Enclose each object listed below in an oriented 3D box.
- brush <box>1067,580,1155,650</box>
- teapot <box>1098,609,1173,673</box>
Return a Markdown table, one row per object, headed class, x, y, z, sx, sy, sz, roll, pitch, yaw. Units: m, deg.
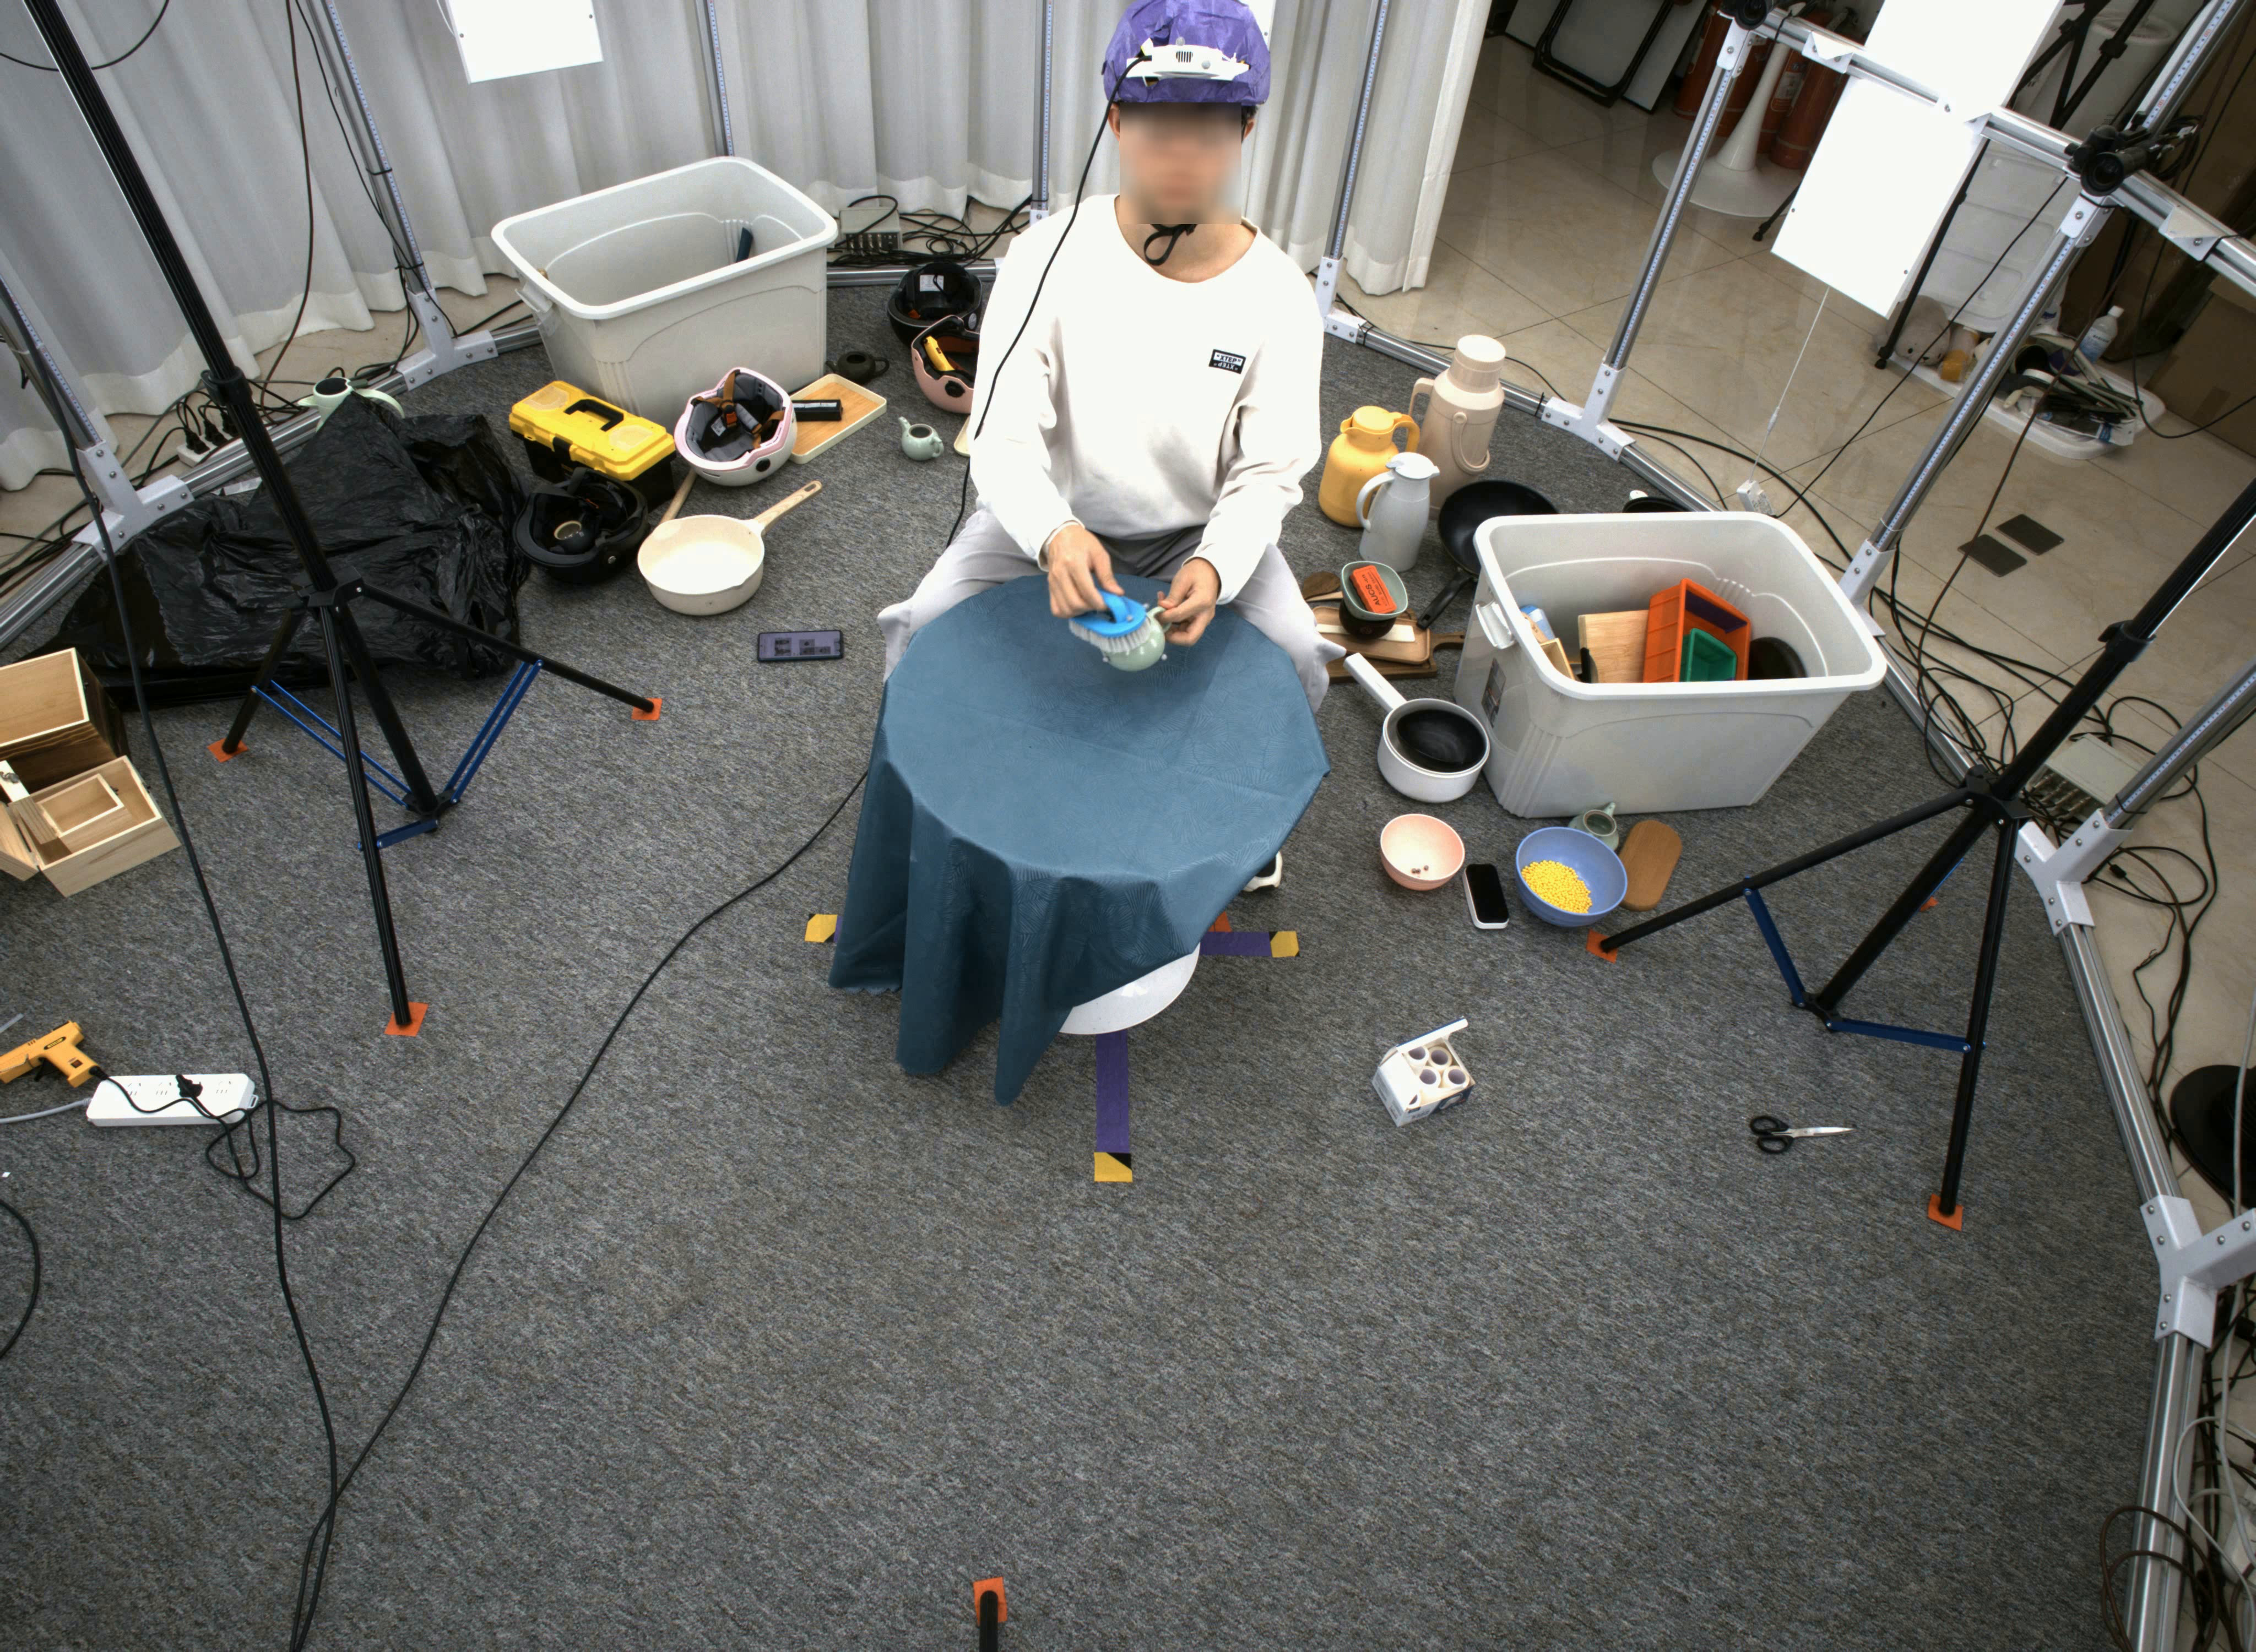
| class | x | y | z | sx | sy | sz | roll | pitch | yaw |
| --- | --- | --- | --- | --- | --- | --- | --- | --- | --- |
| brush | -0.030 | -0.296 | 1.741 | 0.085 | 0.062 | 0.144 | -39 | 42 | -16 |
| teapot | 0.013 | -0.259 | 1.790 | 0.129 | 0.059 | 0.093 | -32 | 43 | -23 |
